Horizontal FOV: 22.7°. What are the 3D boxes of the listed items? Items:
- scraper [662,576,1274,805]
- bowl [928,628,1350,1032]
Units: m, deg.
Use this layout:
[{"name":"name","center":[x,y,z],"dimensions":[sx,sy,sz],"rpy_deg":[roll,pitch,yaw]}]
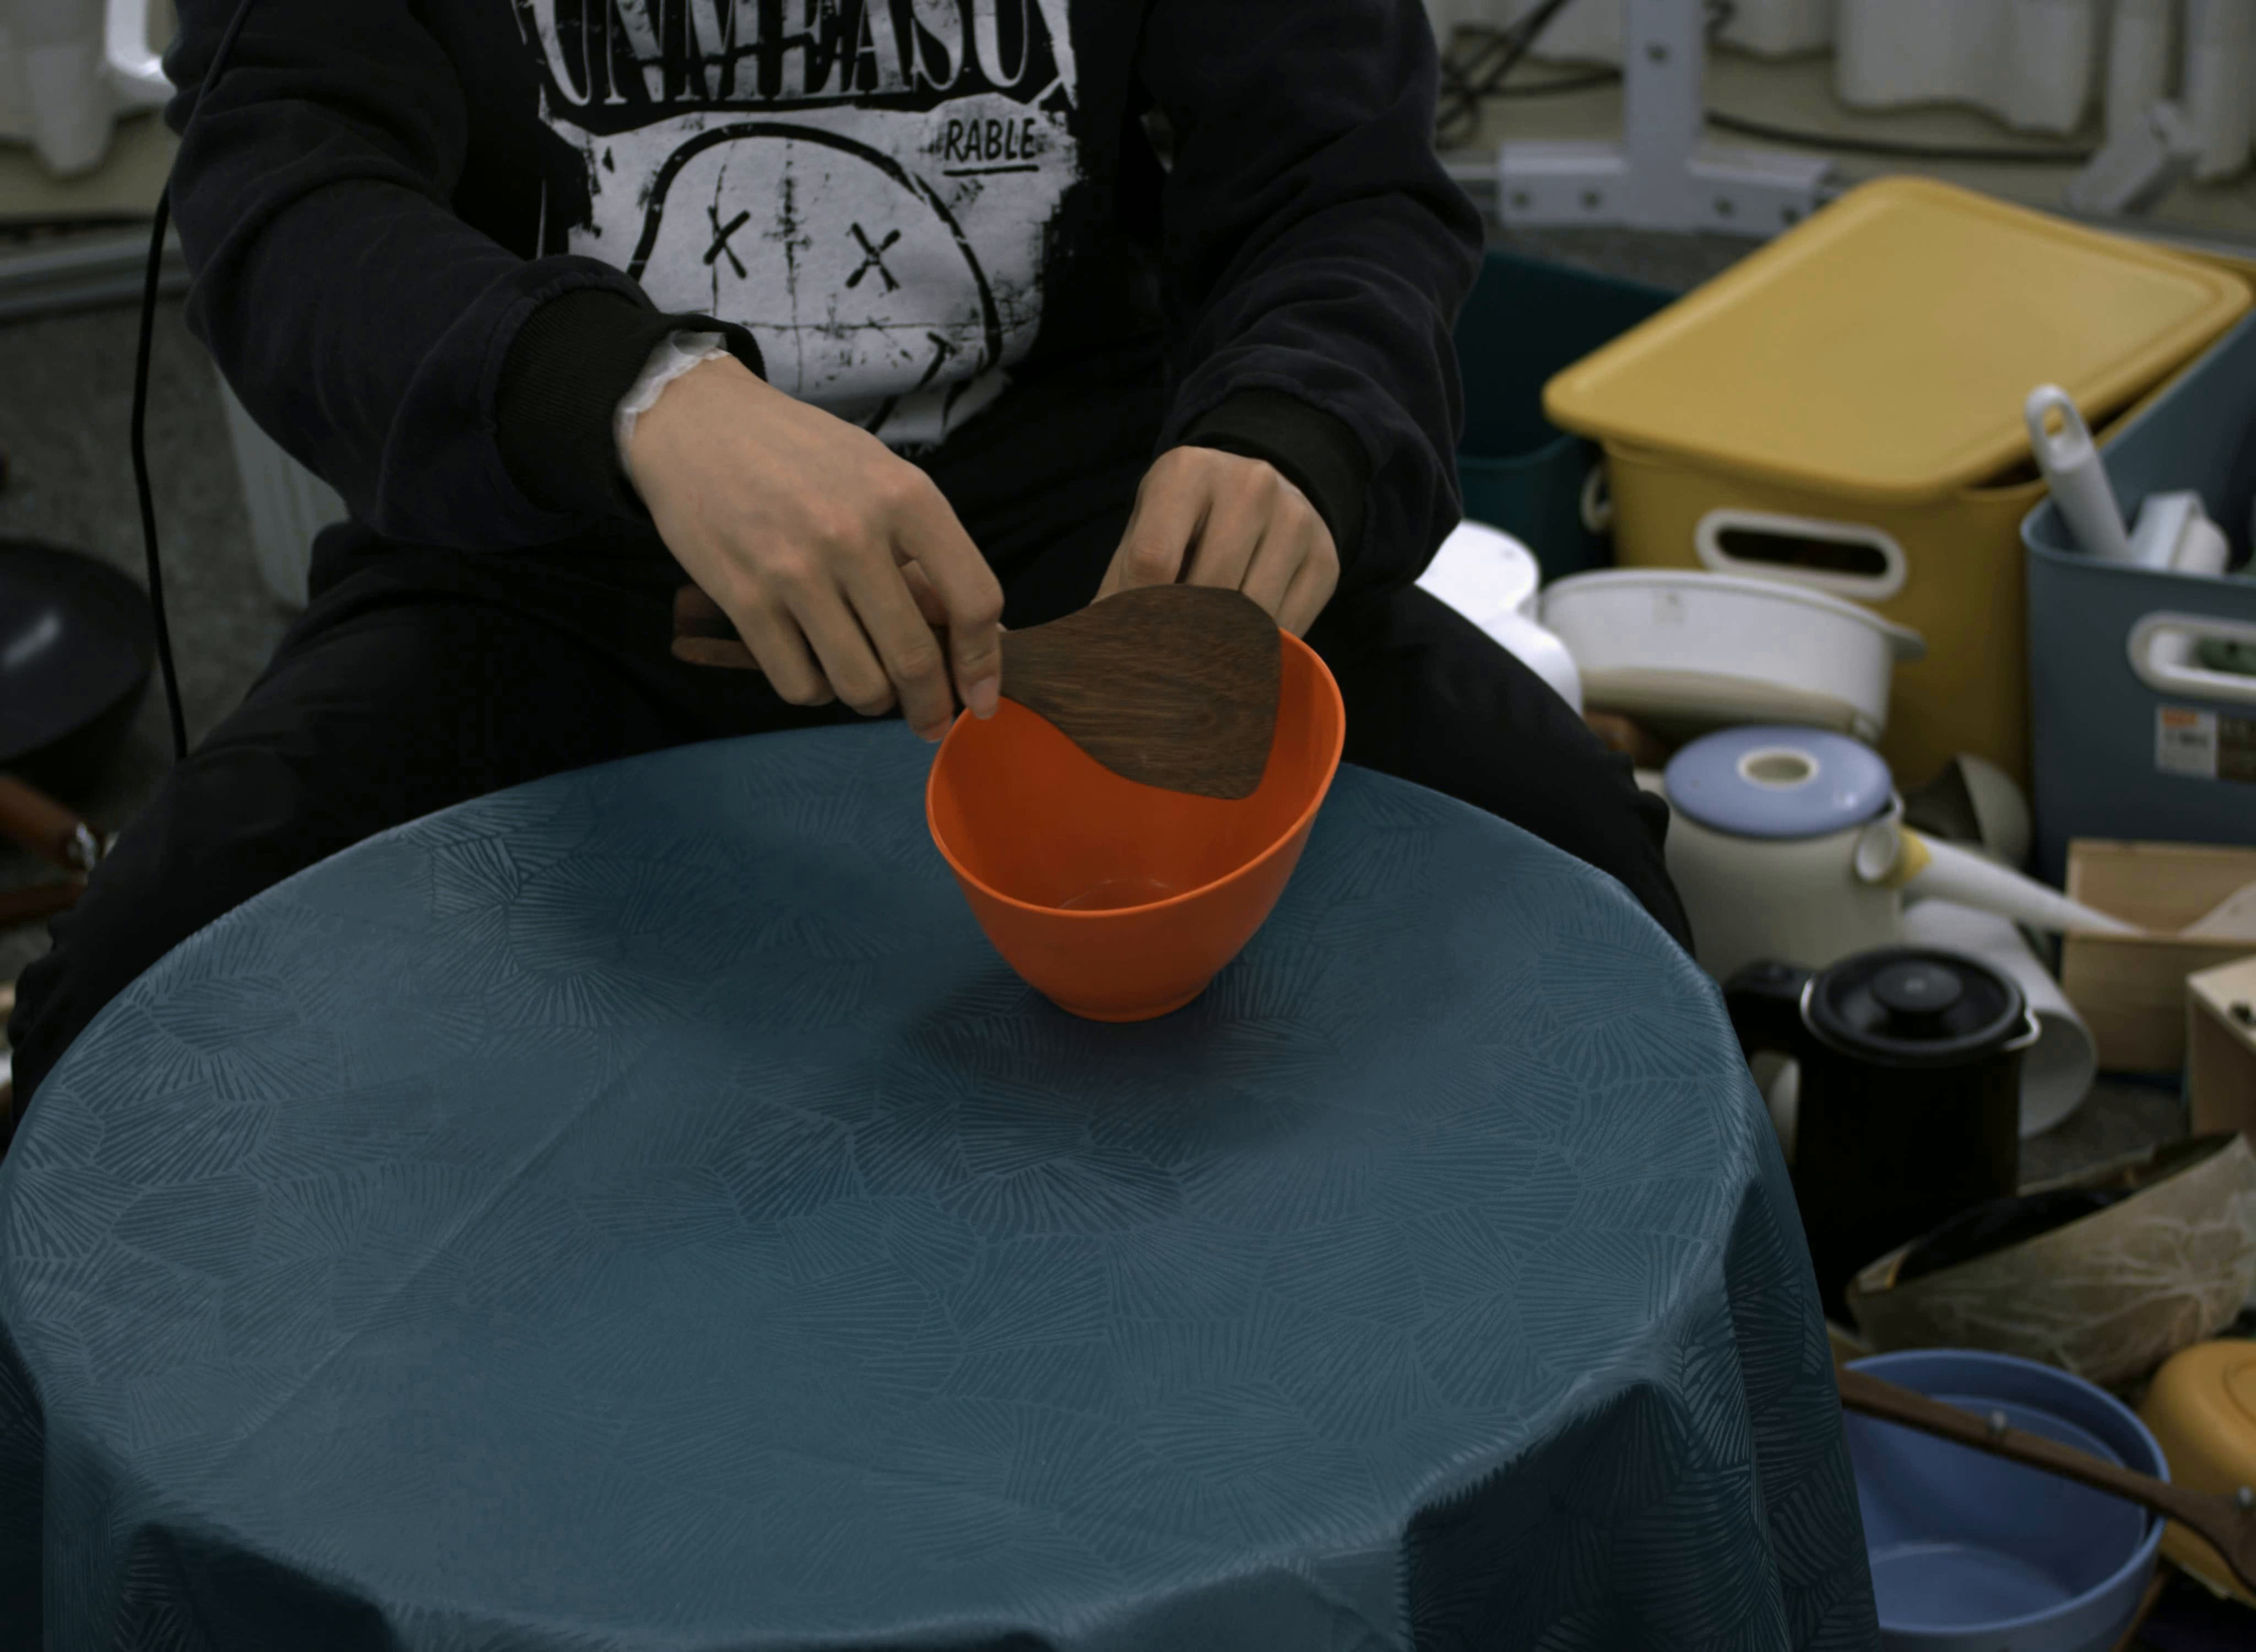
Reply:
[{"name":"scraper","center":[-0.054,-0.057,1.922],"dimensions":[0.210,0.076,0.011],"rpy_deg":[8,-2,-8]},{"name":"bowl","center":[0.007,0.009,1.955],"dimensions":[0.147,0.103,0.151],"rpy_deg":[-3,41,3]}]
